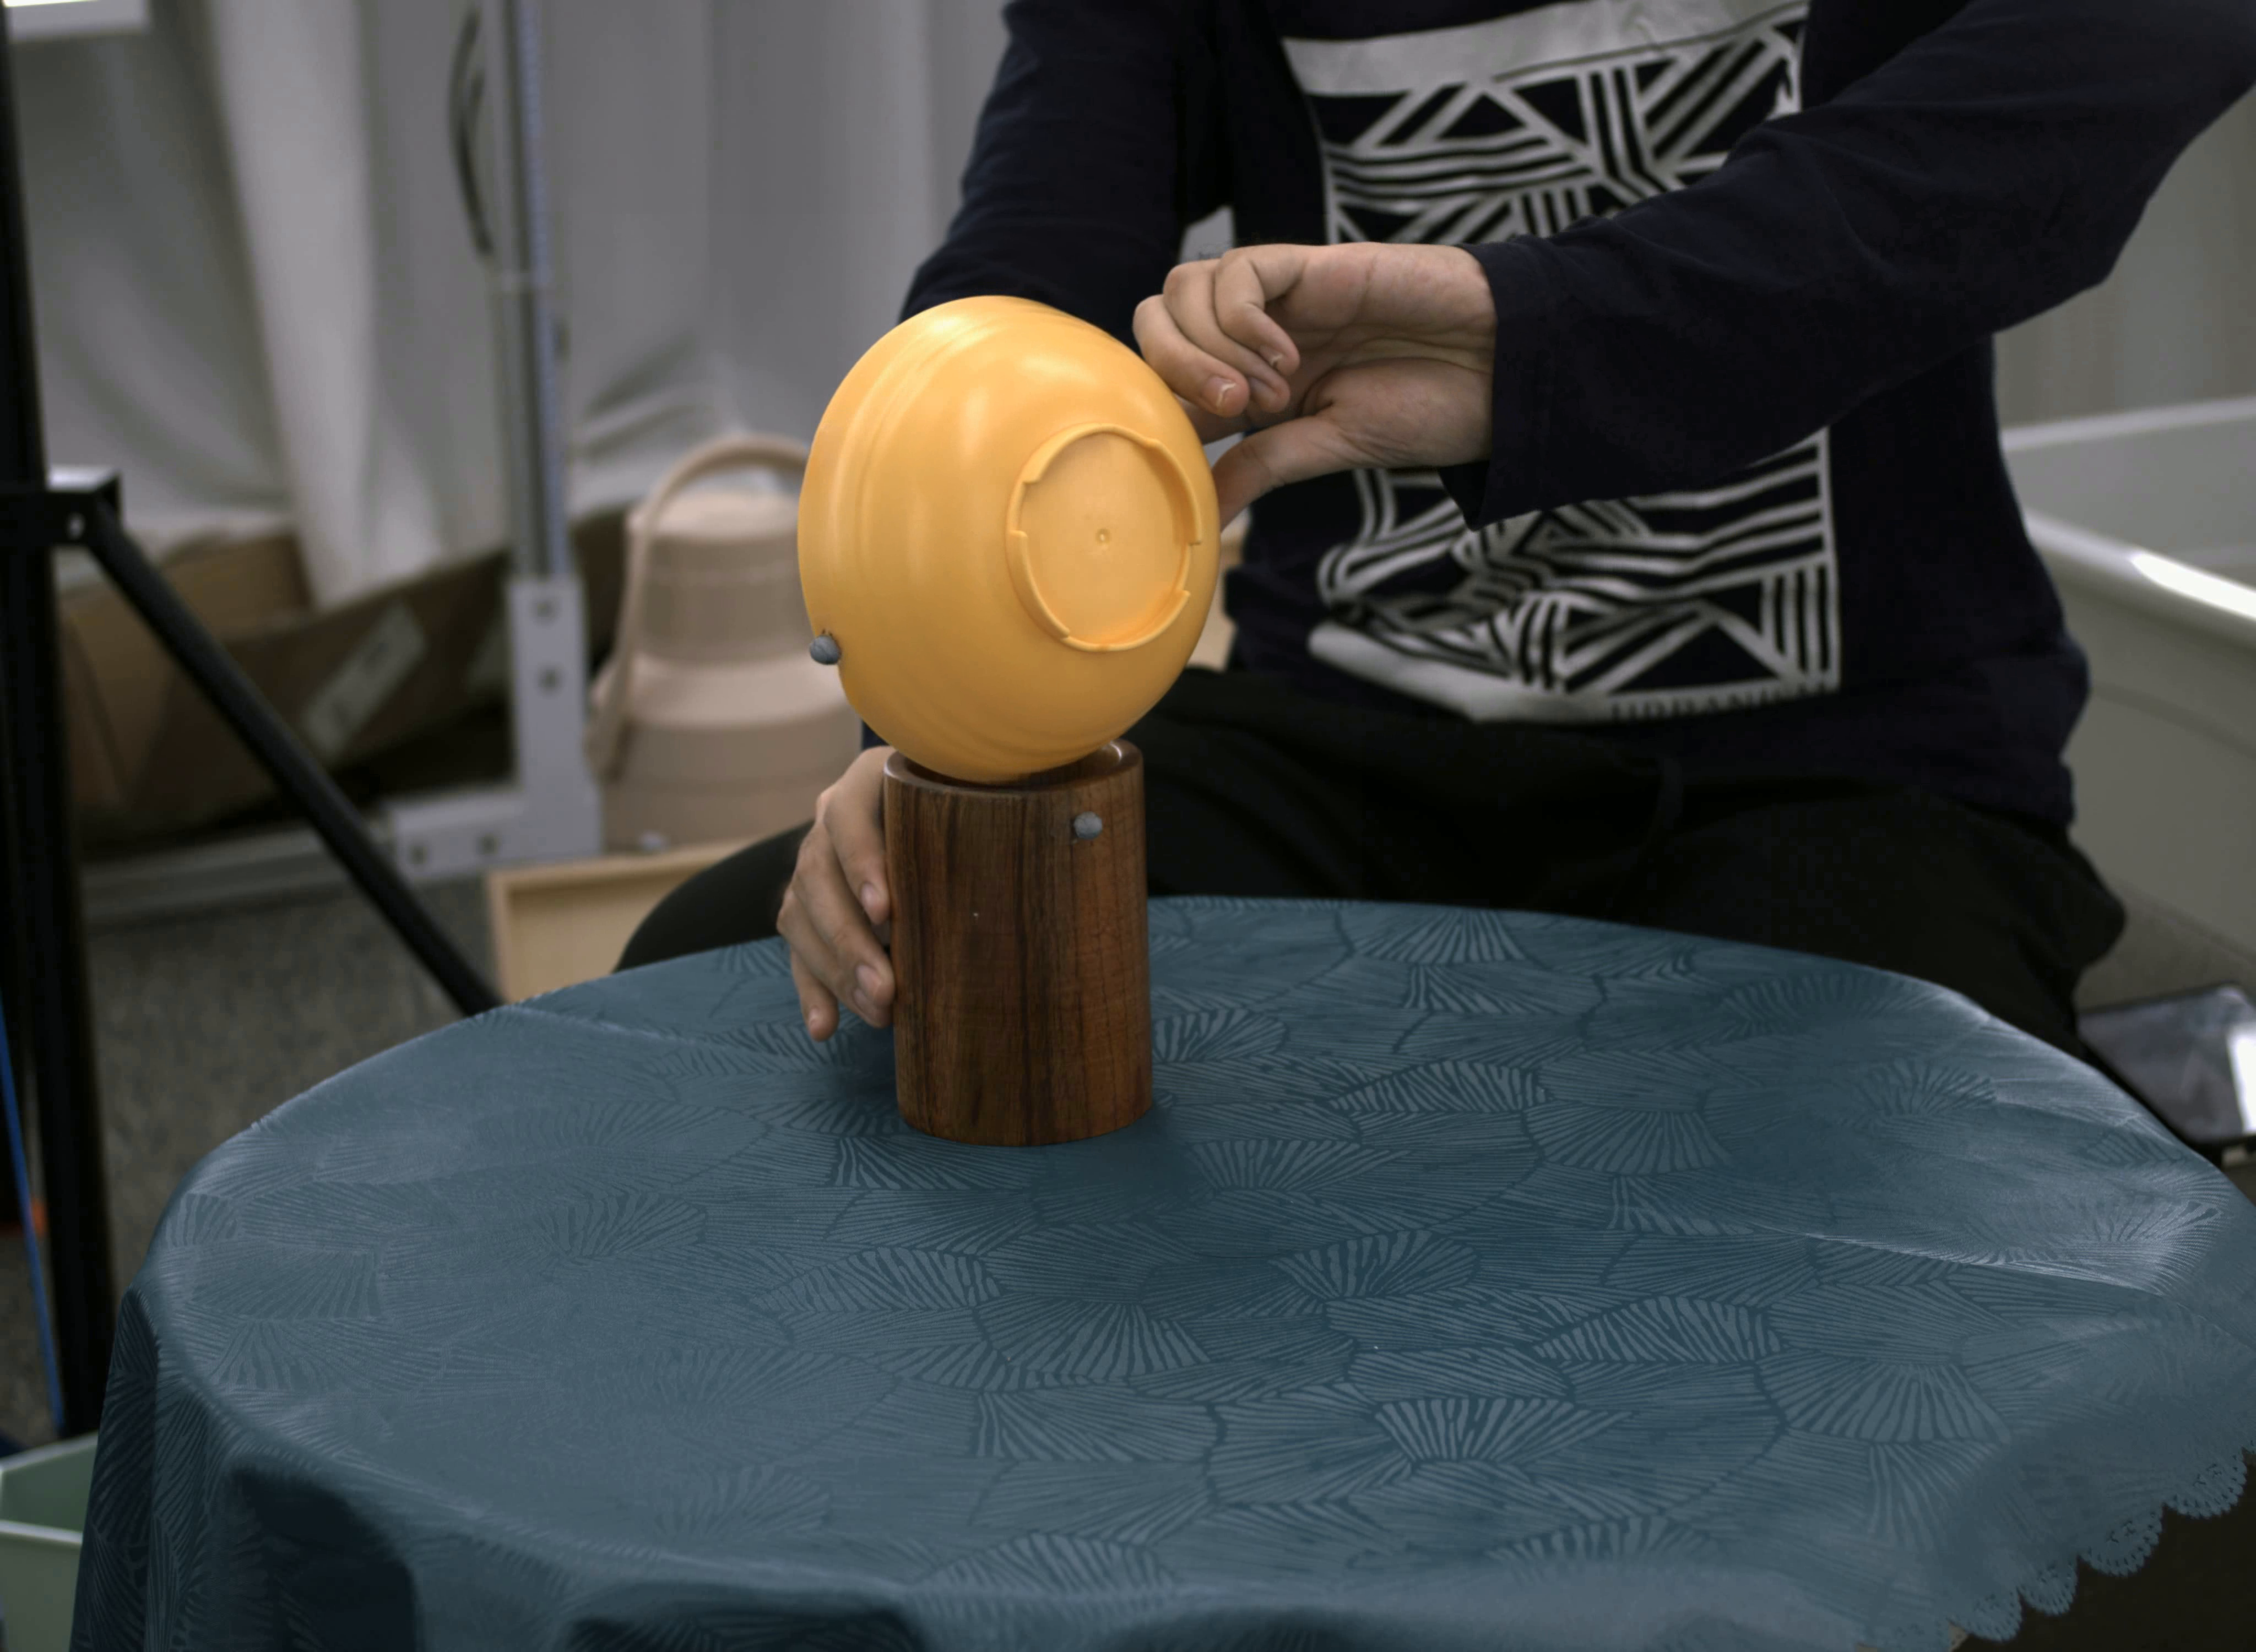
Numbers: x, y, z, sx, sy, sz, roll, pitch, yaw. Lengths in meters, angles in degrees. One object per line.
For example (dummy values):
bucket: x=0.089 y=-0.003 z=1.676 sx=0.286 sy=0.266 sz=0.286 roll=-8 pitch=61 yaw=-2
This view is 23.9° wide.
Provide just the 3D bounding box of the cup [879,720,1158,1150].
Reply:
cup: x=-0.036 y=0.030 z=1.625 sx=0.087 sy=0.118 sz=0.088 roll=1 pitch=16 yaw=-2

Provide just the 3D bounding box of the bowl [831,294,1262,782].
bowl: x=-0.011 y=-0.086 z=1.563 sx=0.142 sy=0.146 sz=0.061 roll=-12 pitch=3 yaw=-31
